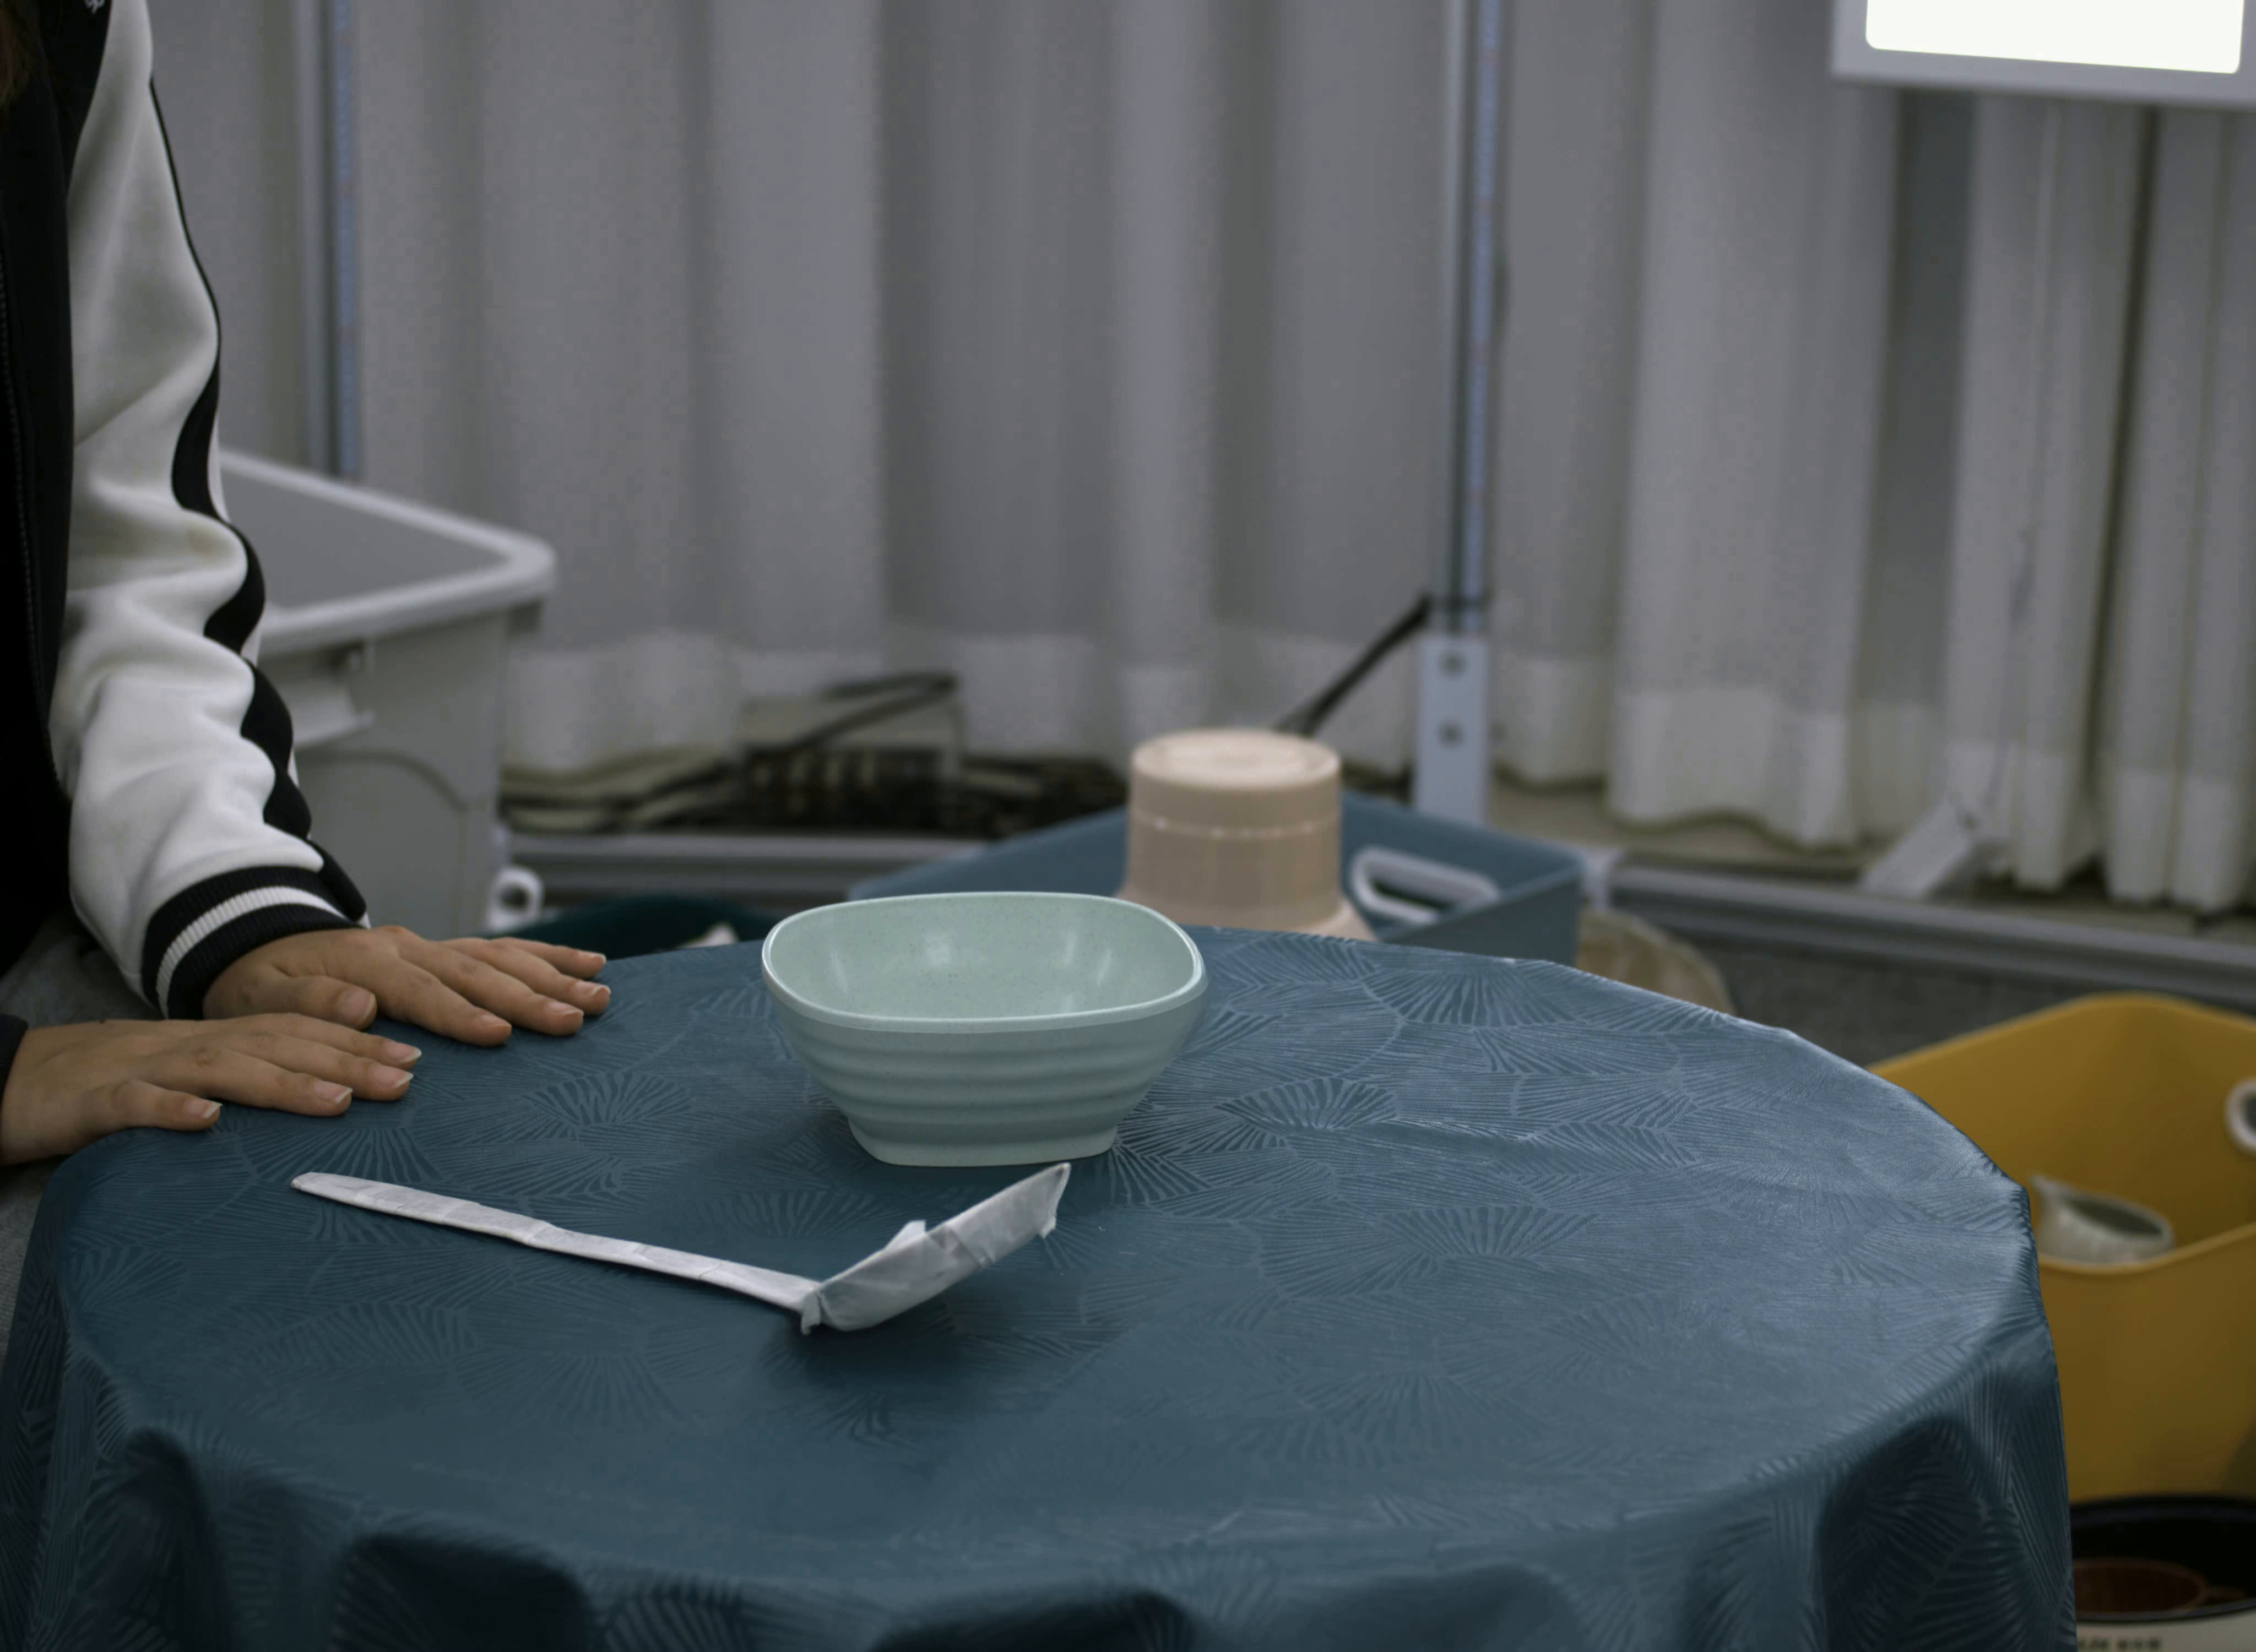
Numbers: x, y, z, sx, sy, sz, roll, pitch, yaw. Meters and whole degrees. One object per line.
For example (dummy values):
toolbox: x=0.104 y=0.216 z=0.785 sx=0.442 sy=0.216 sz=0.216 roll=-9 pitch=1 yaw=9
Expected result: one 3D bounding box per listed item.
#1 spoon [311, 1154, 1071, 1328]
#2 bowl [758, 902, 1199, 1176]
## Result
spoon: x=-0.136 y=0.101 z=1.551 sx=0.274 sy=0.060 sz=0.101 roll=11 pitch=14 yaw=34
bowl: x=-0.047 y=0.071 z=1.674 sx=0.151 sy=0.059 sz=0.150 roll=0 pitch=15 yaw=0
